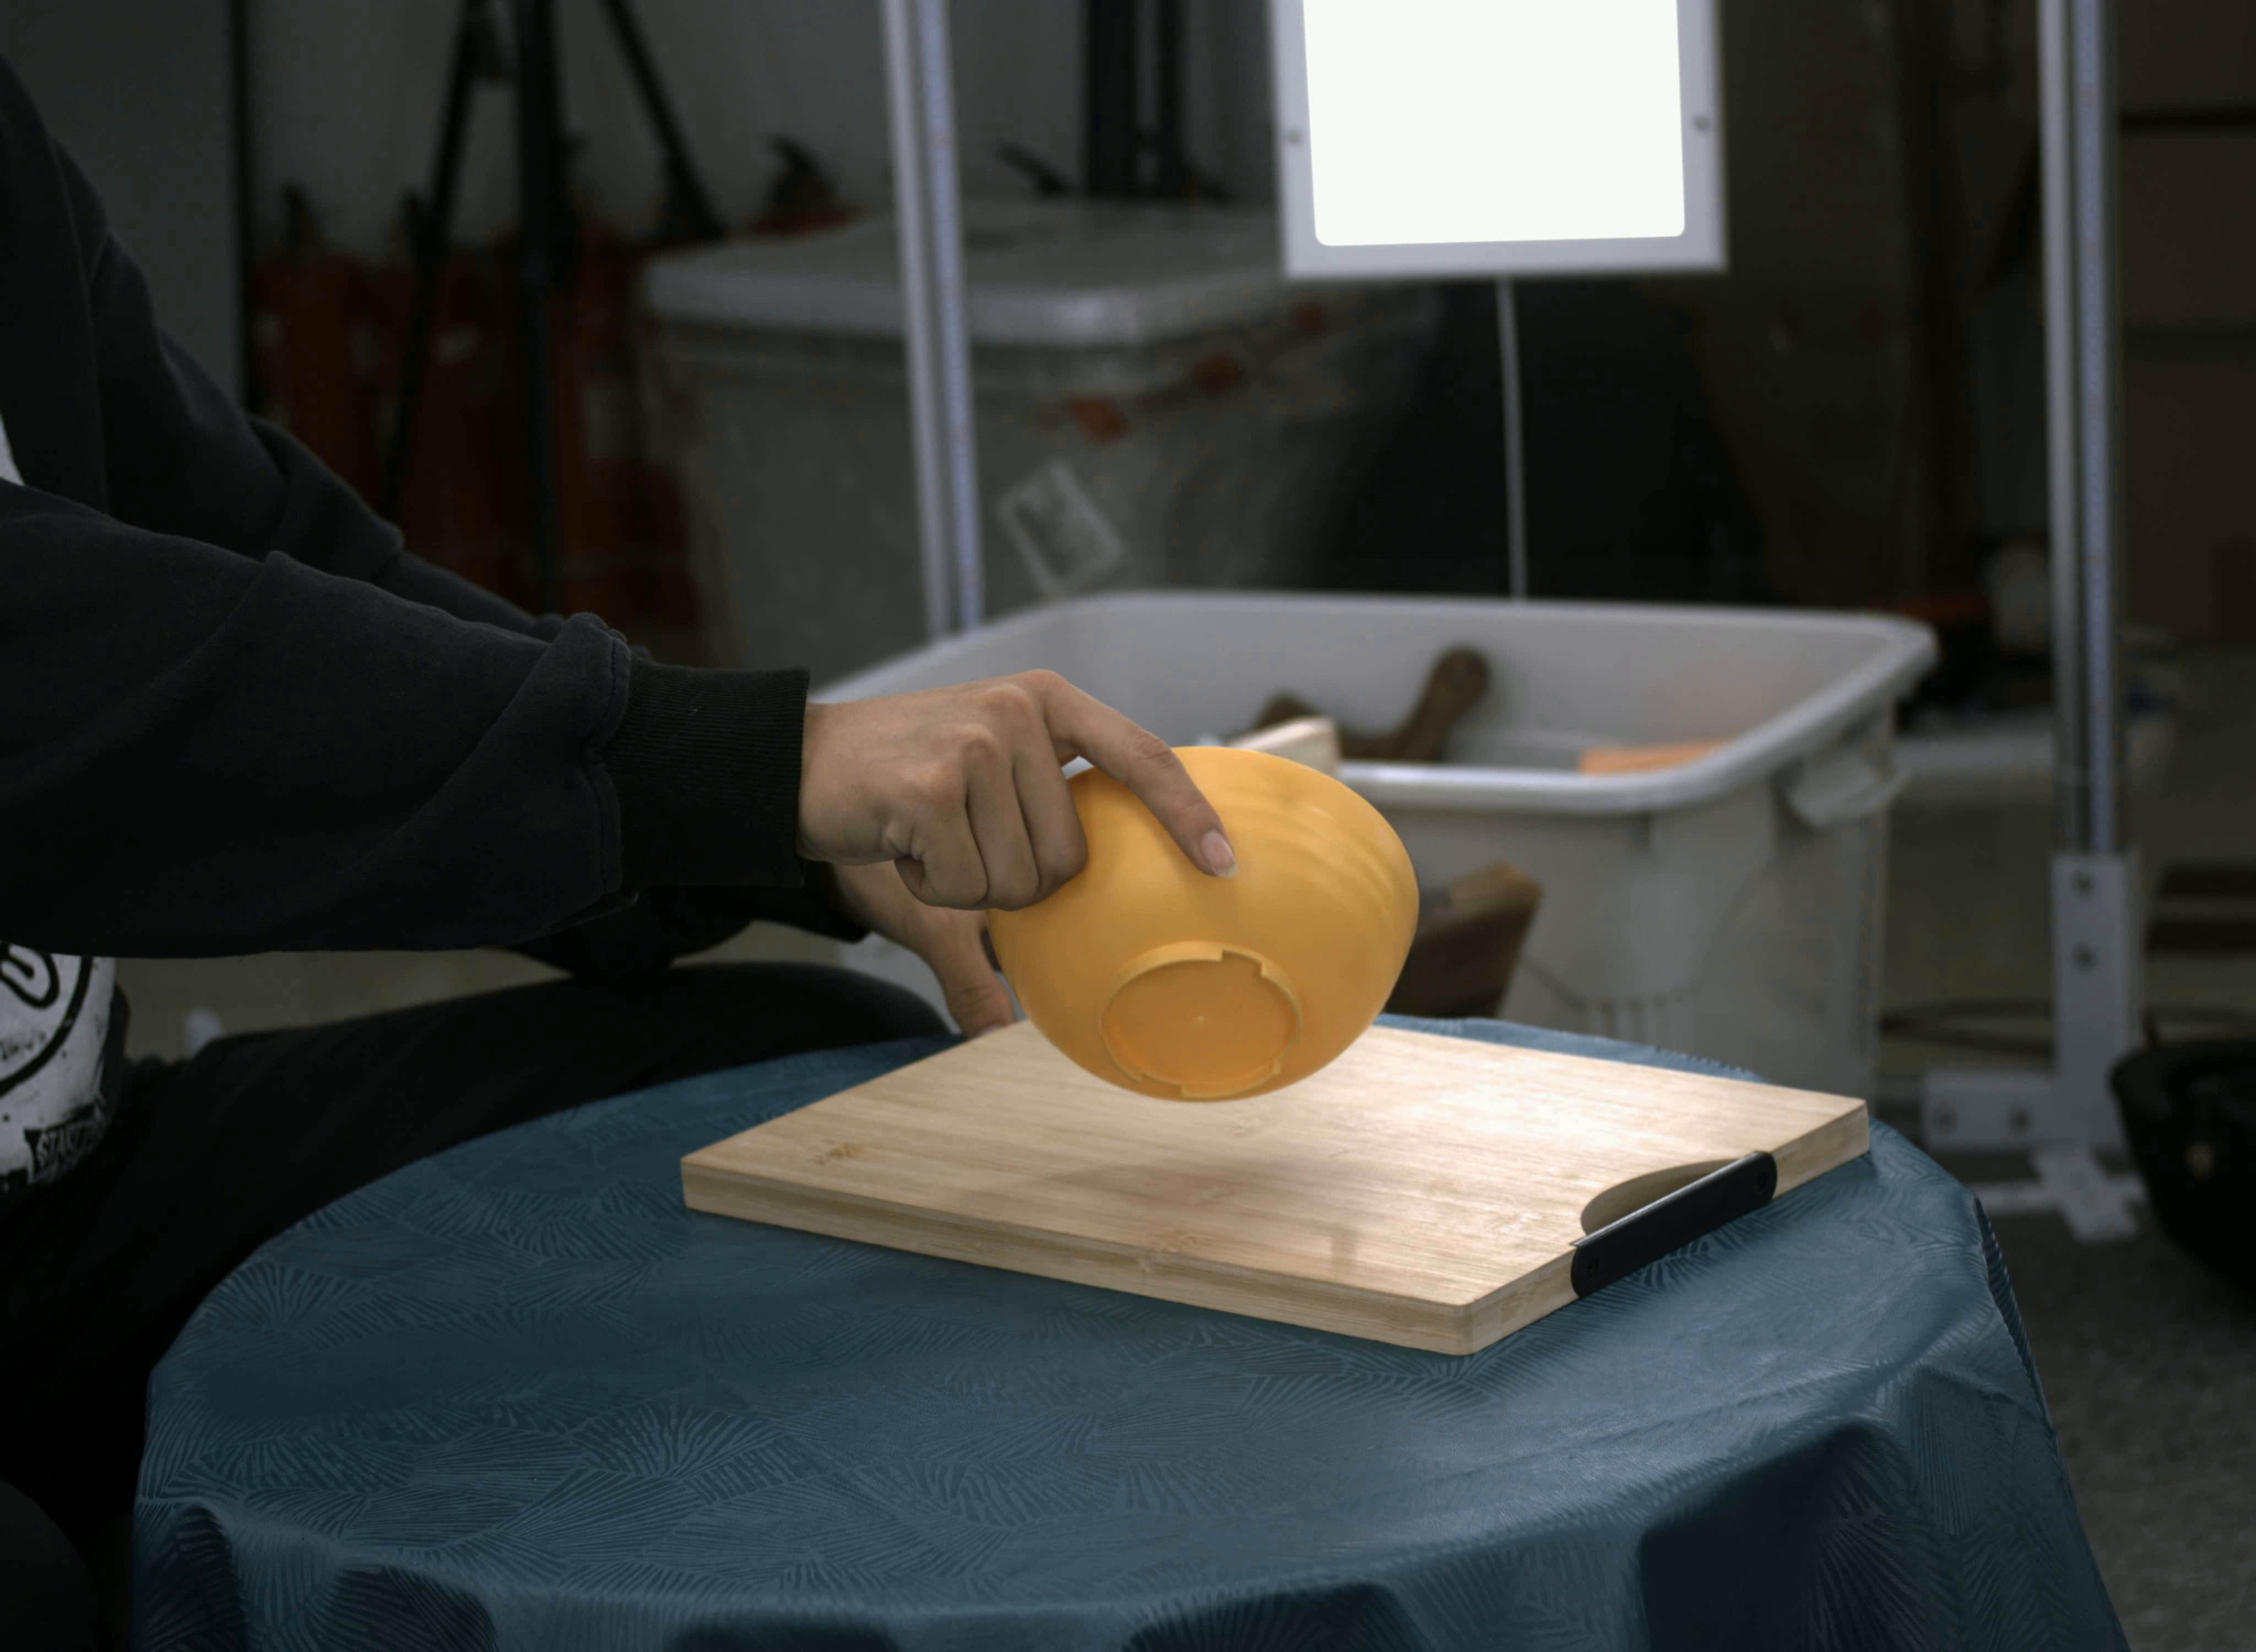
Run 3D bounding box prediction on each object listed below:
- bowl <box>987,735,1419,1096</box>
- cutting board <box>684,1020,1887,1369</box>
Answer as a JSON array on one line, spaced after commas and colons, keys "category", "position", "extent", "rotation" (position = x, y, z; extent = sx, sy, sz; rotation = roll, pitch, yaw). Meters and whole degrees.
[{"category": "bowl", "position": [0.024, 0.043, 1.794], "extent": [0.146, 0.145, 0.060], "rotation": [-2, 44, 7]}, {"category": "cutting board", "position": [0.053, 0.115, 1.893], "extent": [0.356, 0.023, 0.244], "rotation": [6, 18, 39]}]
